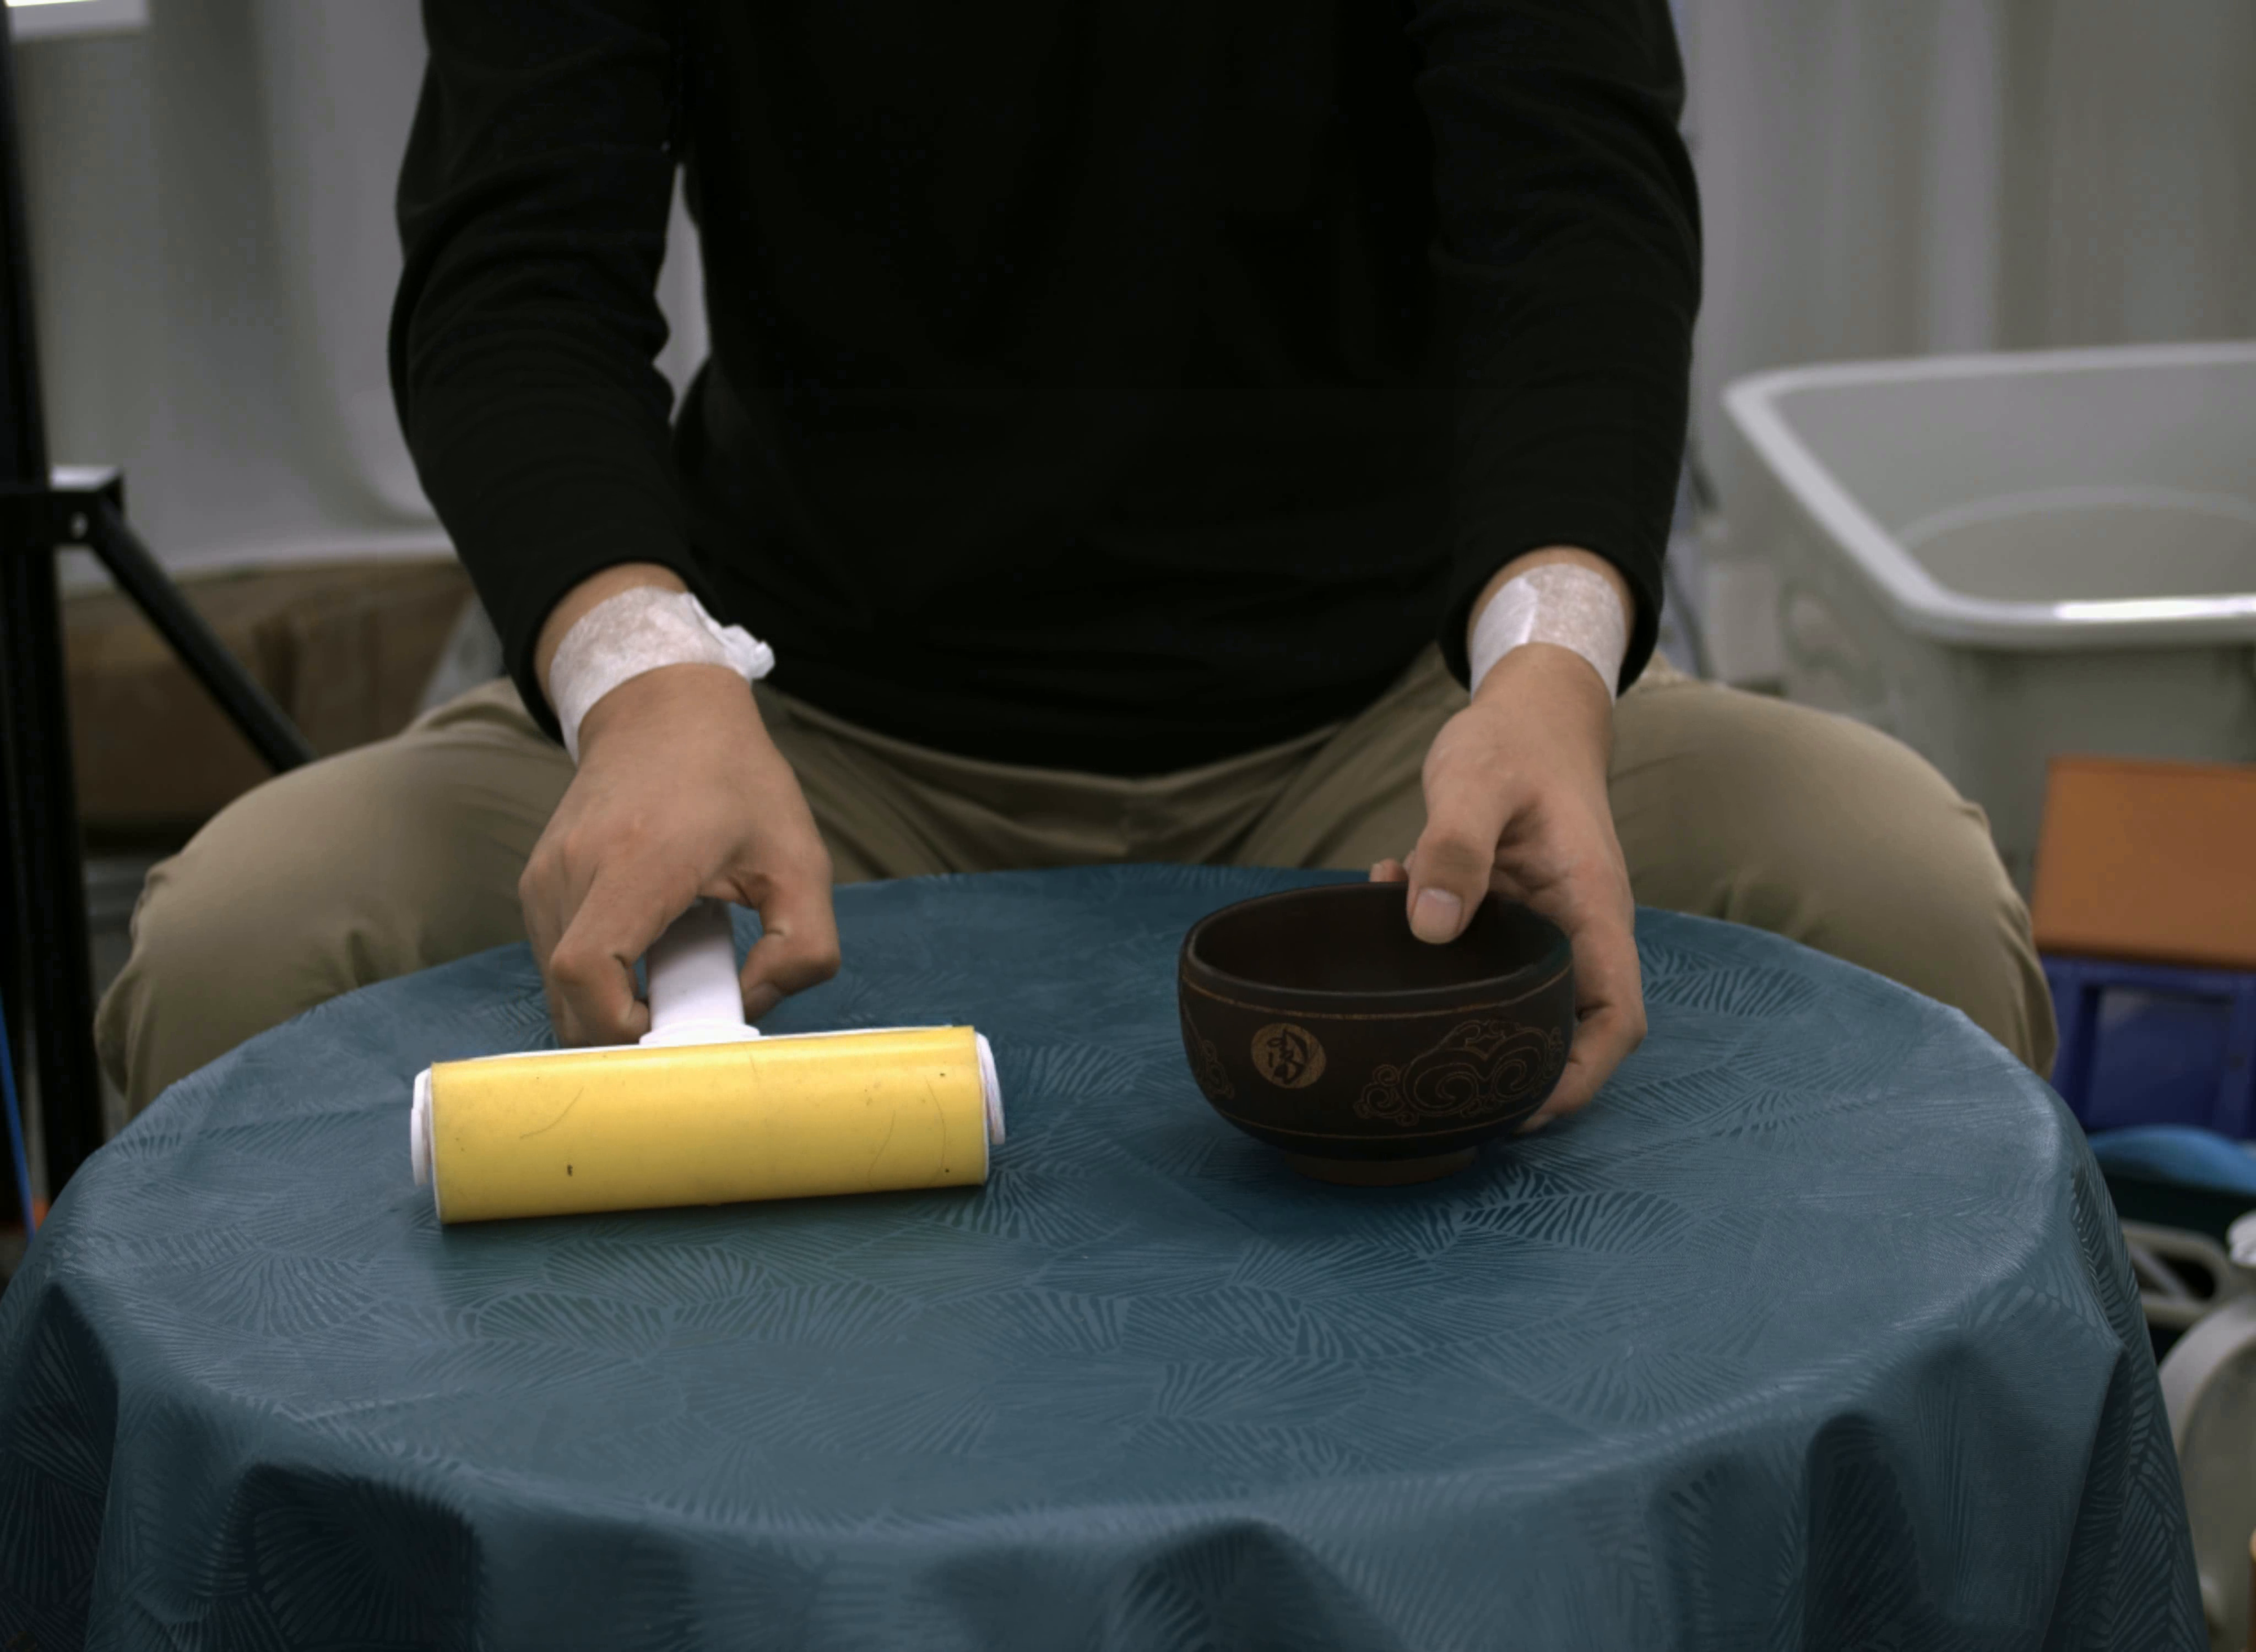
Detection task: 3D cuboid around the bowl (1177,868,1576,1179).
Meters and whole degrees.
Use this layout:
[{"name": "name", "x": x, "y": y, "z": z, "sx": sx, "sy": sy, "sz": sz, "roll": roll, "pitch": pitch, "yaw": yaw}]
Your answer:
[{"name": "bowl", "x": 0.074, "y": 0.062, "z": 1.568, "sx": 0.117, "sy": 0.070, "sz": 0.118, "roll": -2, "pitch": 17, "yaw": -1}]

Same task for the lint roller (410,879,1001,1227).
[{"name": "lint roller", "x": -0.135, "y": 0.053, "z": 1.626, "sx": 0.172, "sy": 0.051, "sz": 0.194, "roll": -5, "pitch": 32, "yaw": -6}]
